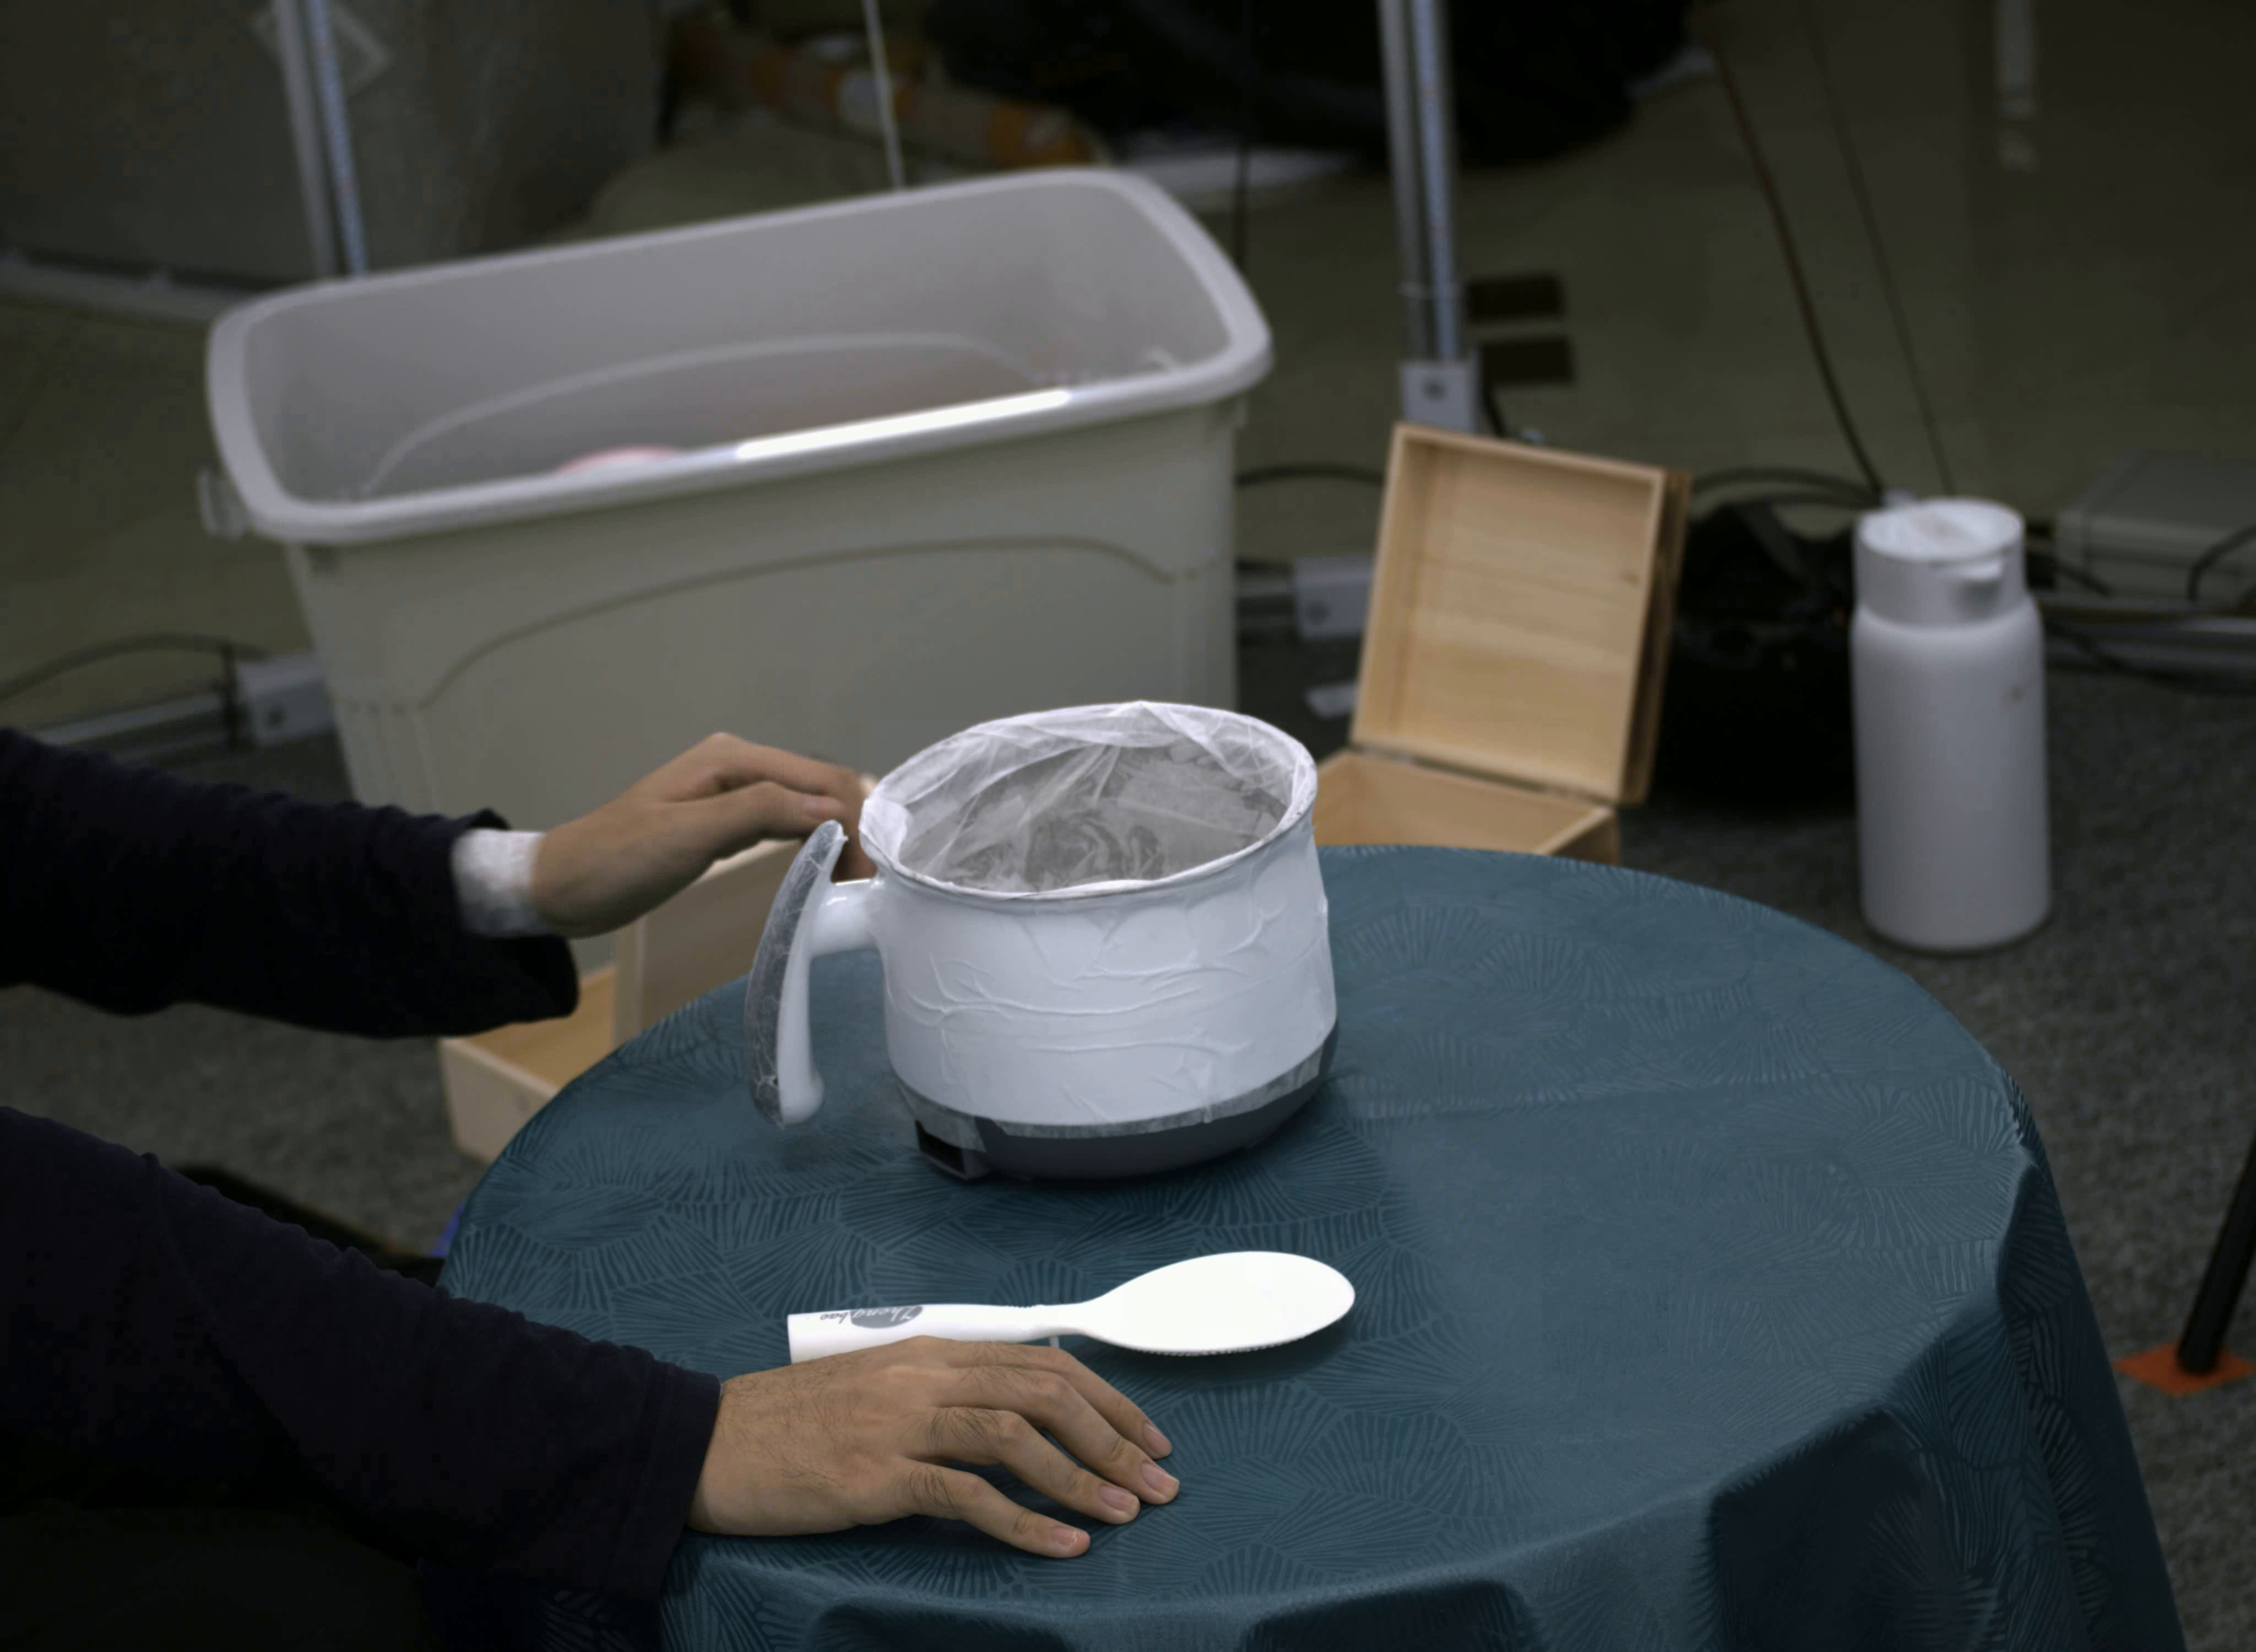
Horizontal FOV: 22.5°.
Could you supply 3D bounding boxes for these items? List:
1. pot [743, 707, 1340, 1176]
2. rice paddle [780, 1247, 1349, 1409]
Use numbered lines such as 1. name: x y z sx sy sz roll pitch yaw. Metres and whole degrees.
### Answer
1. pot: -0.036 0.050 2.187 0.233 0.138 0.176 -8 23 -5
2. rice paddle: -0.022 0.178 2.039 0.205 0.030 0.068 -8 27 -1
